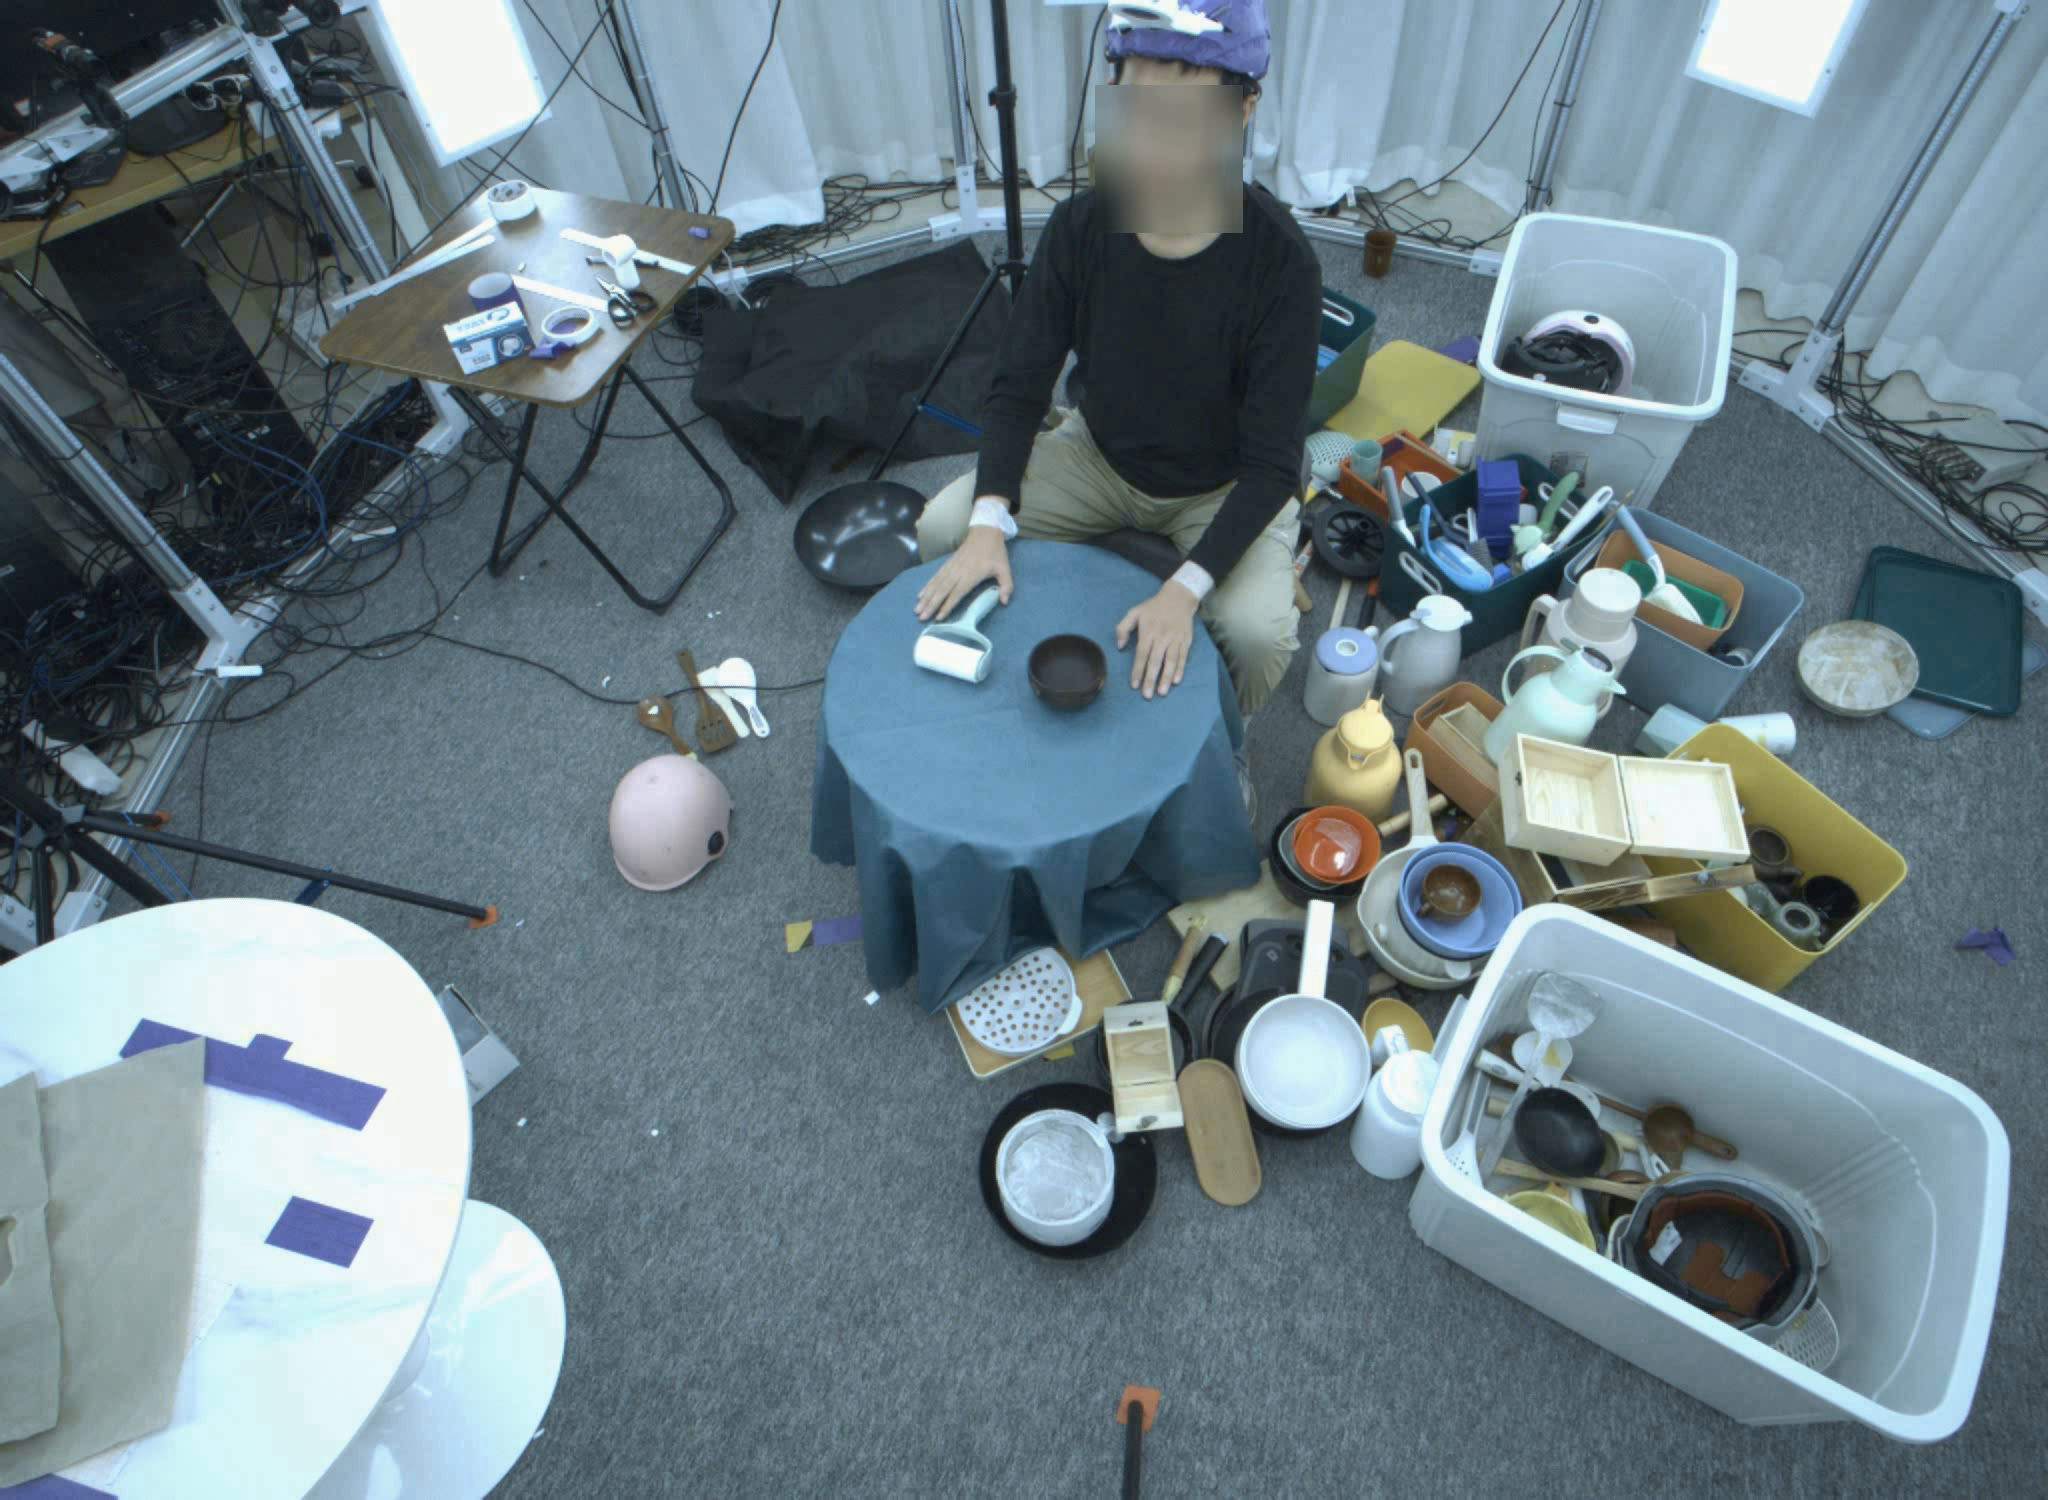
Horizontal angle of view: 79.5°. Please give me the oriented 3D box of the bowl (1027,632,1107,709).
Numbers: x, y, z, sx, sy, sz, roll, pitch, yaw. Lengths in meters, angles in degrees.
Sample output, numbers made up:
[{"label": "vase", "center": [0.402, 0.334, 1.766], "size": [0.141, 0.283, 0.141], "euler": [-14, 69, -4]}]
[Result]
[{"label": "bowl", "center": [0.064, -0.110, 1.819], "size": [0.118, 0.070, 0.117], "euler": [-1, 54, 3]}]

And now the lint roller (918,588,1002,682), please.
[{"label": "lint roller", "center": [-0.076, -0.191, 1.898], "size": [0.115, 0.049, 0.197], "euler": [17, 56, 15]}]
